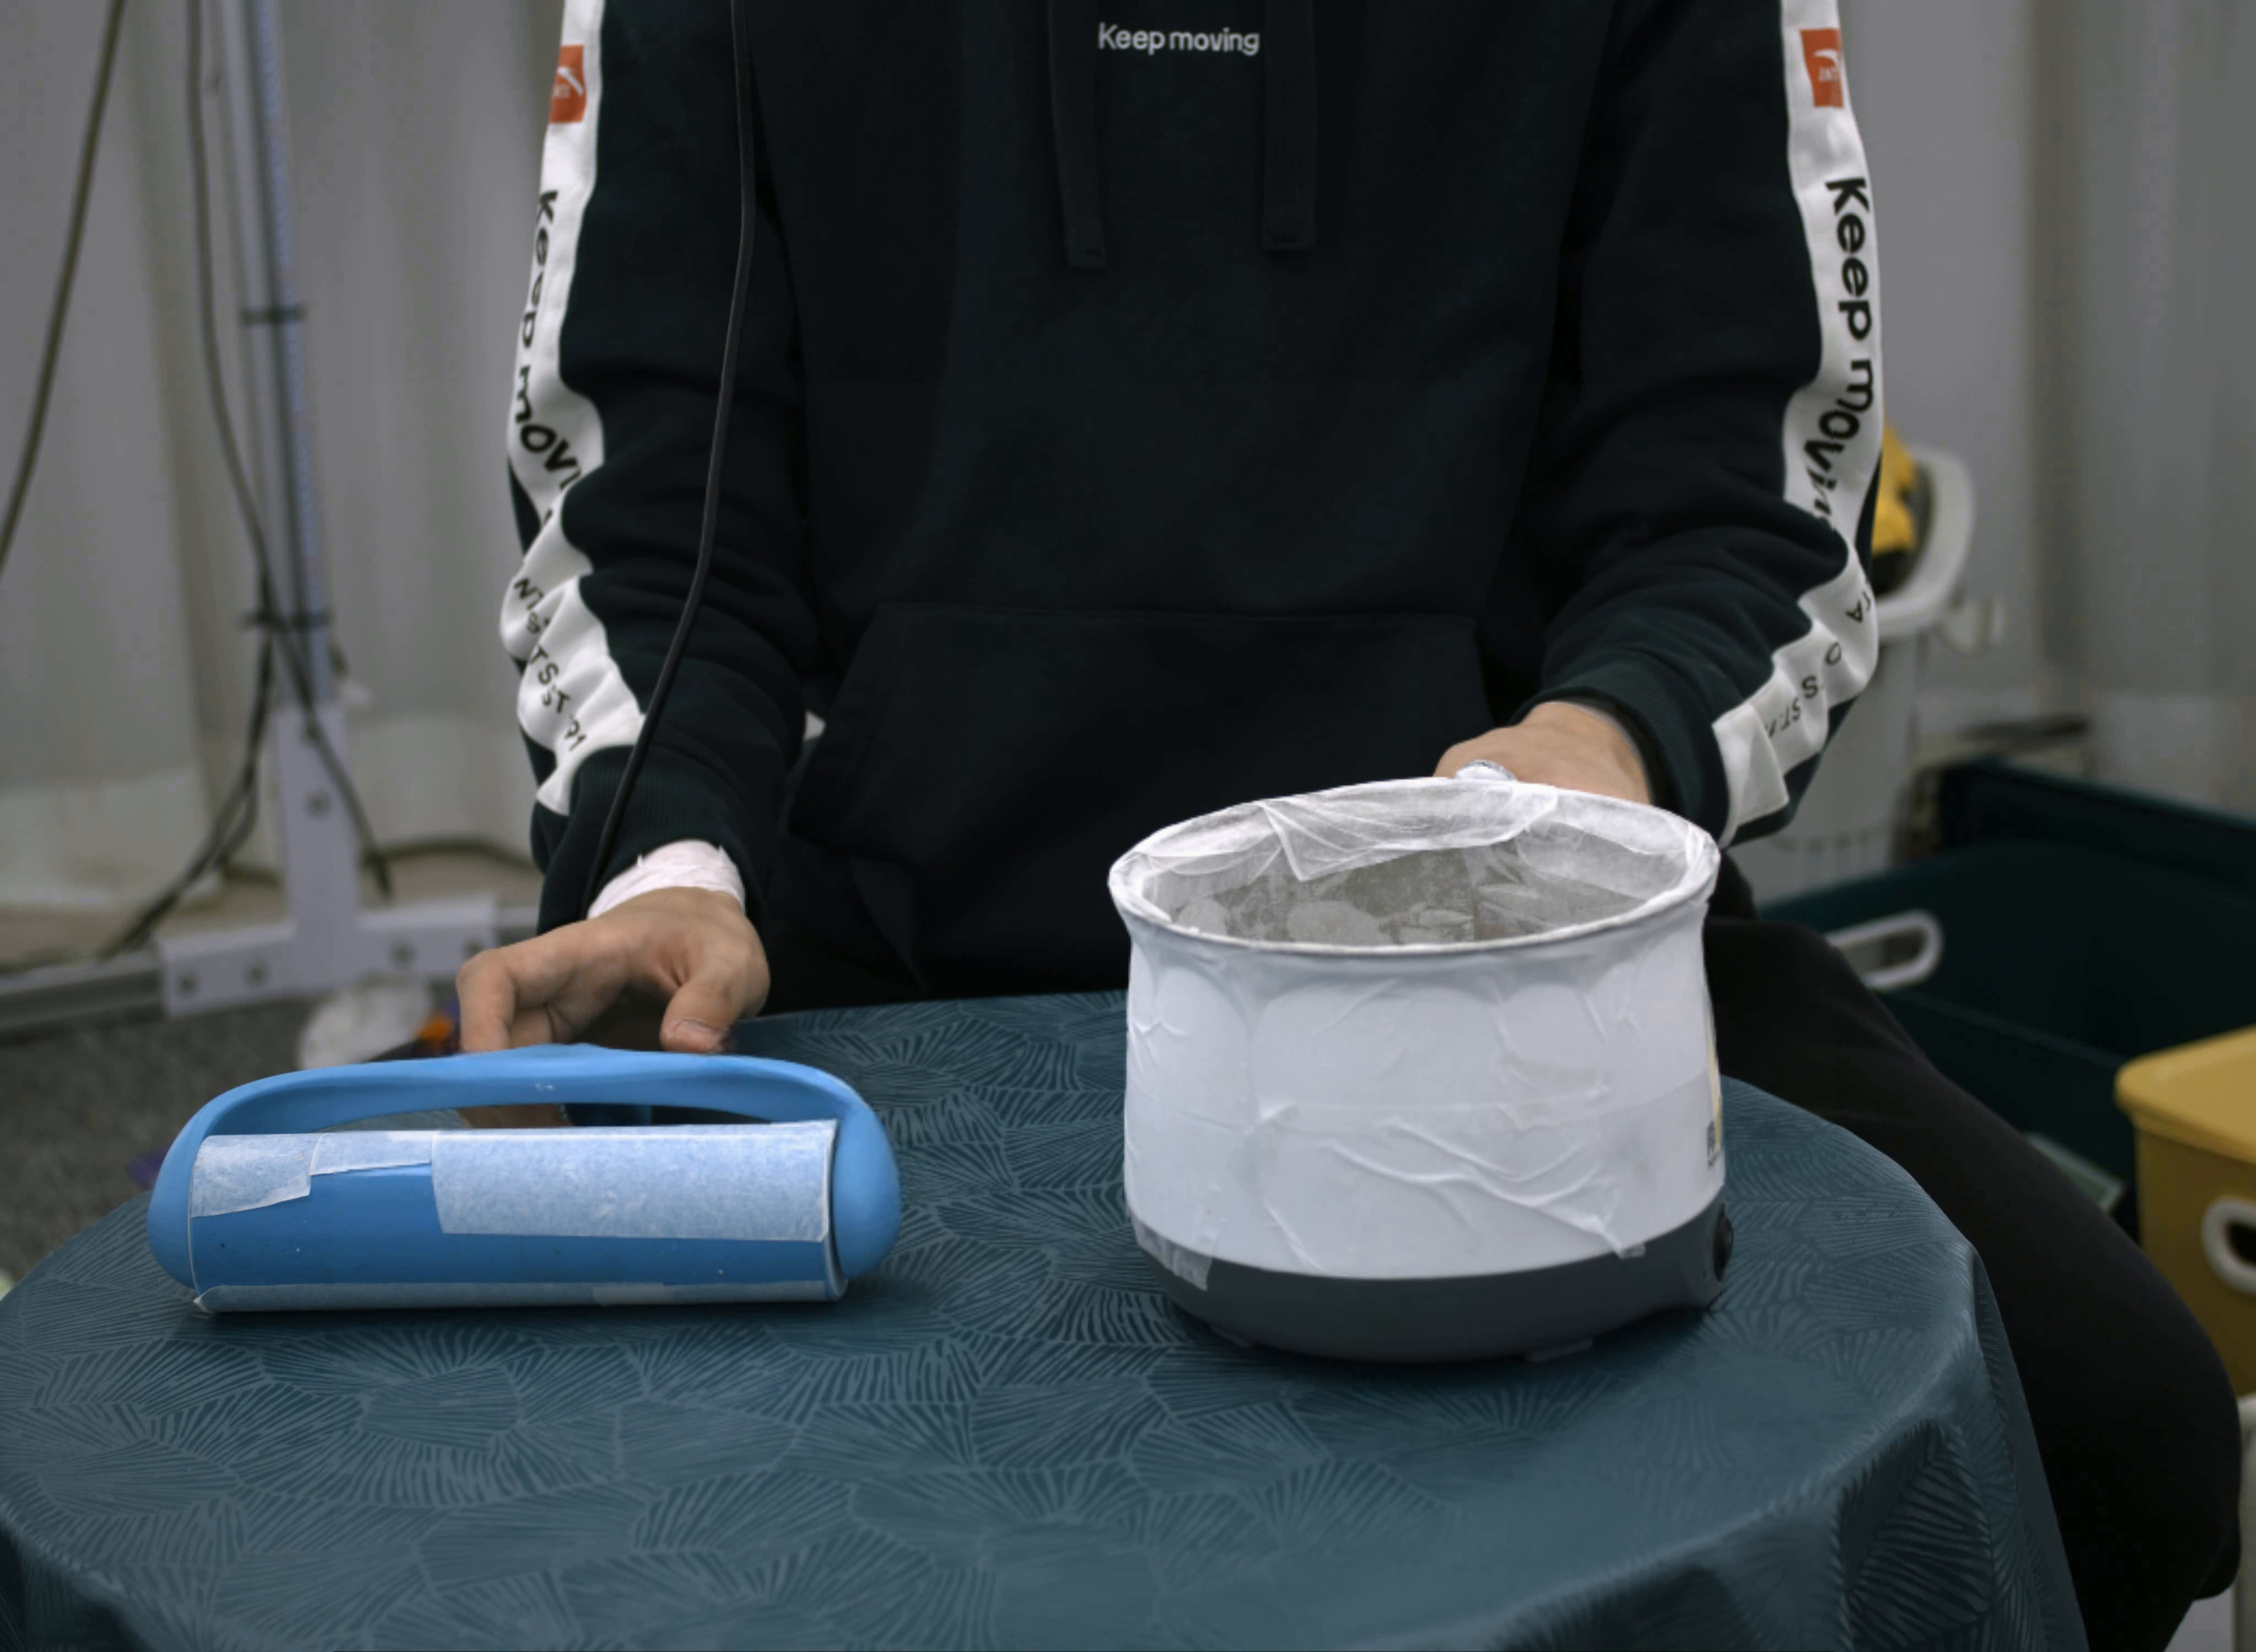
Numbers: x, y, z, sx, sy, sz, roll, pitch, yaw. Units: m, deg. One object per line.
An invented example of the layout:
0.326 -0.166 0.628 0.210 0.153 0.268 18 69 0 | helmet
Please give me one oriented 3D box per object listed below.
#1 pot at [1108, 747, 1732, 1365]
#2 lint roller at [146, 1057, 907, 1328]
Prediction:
0.092 0.062 1.619 0.178 0.136 0.235 1 17 14 | pot
-0.179 0.102 1.690 0.228 0.067 0.181 -4 16 2 | lint roller
